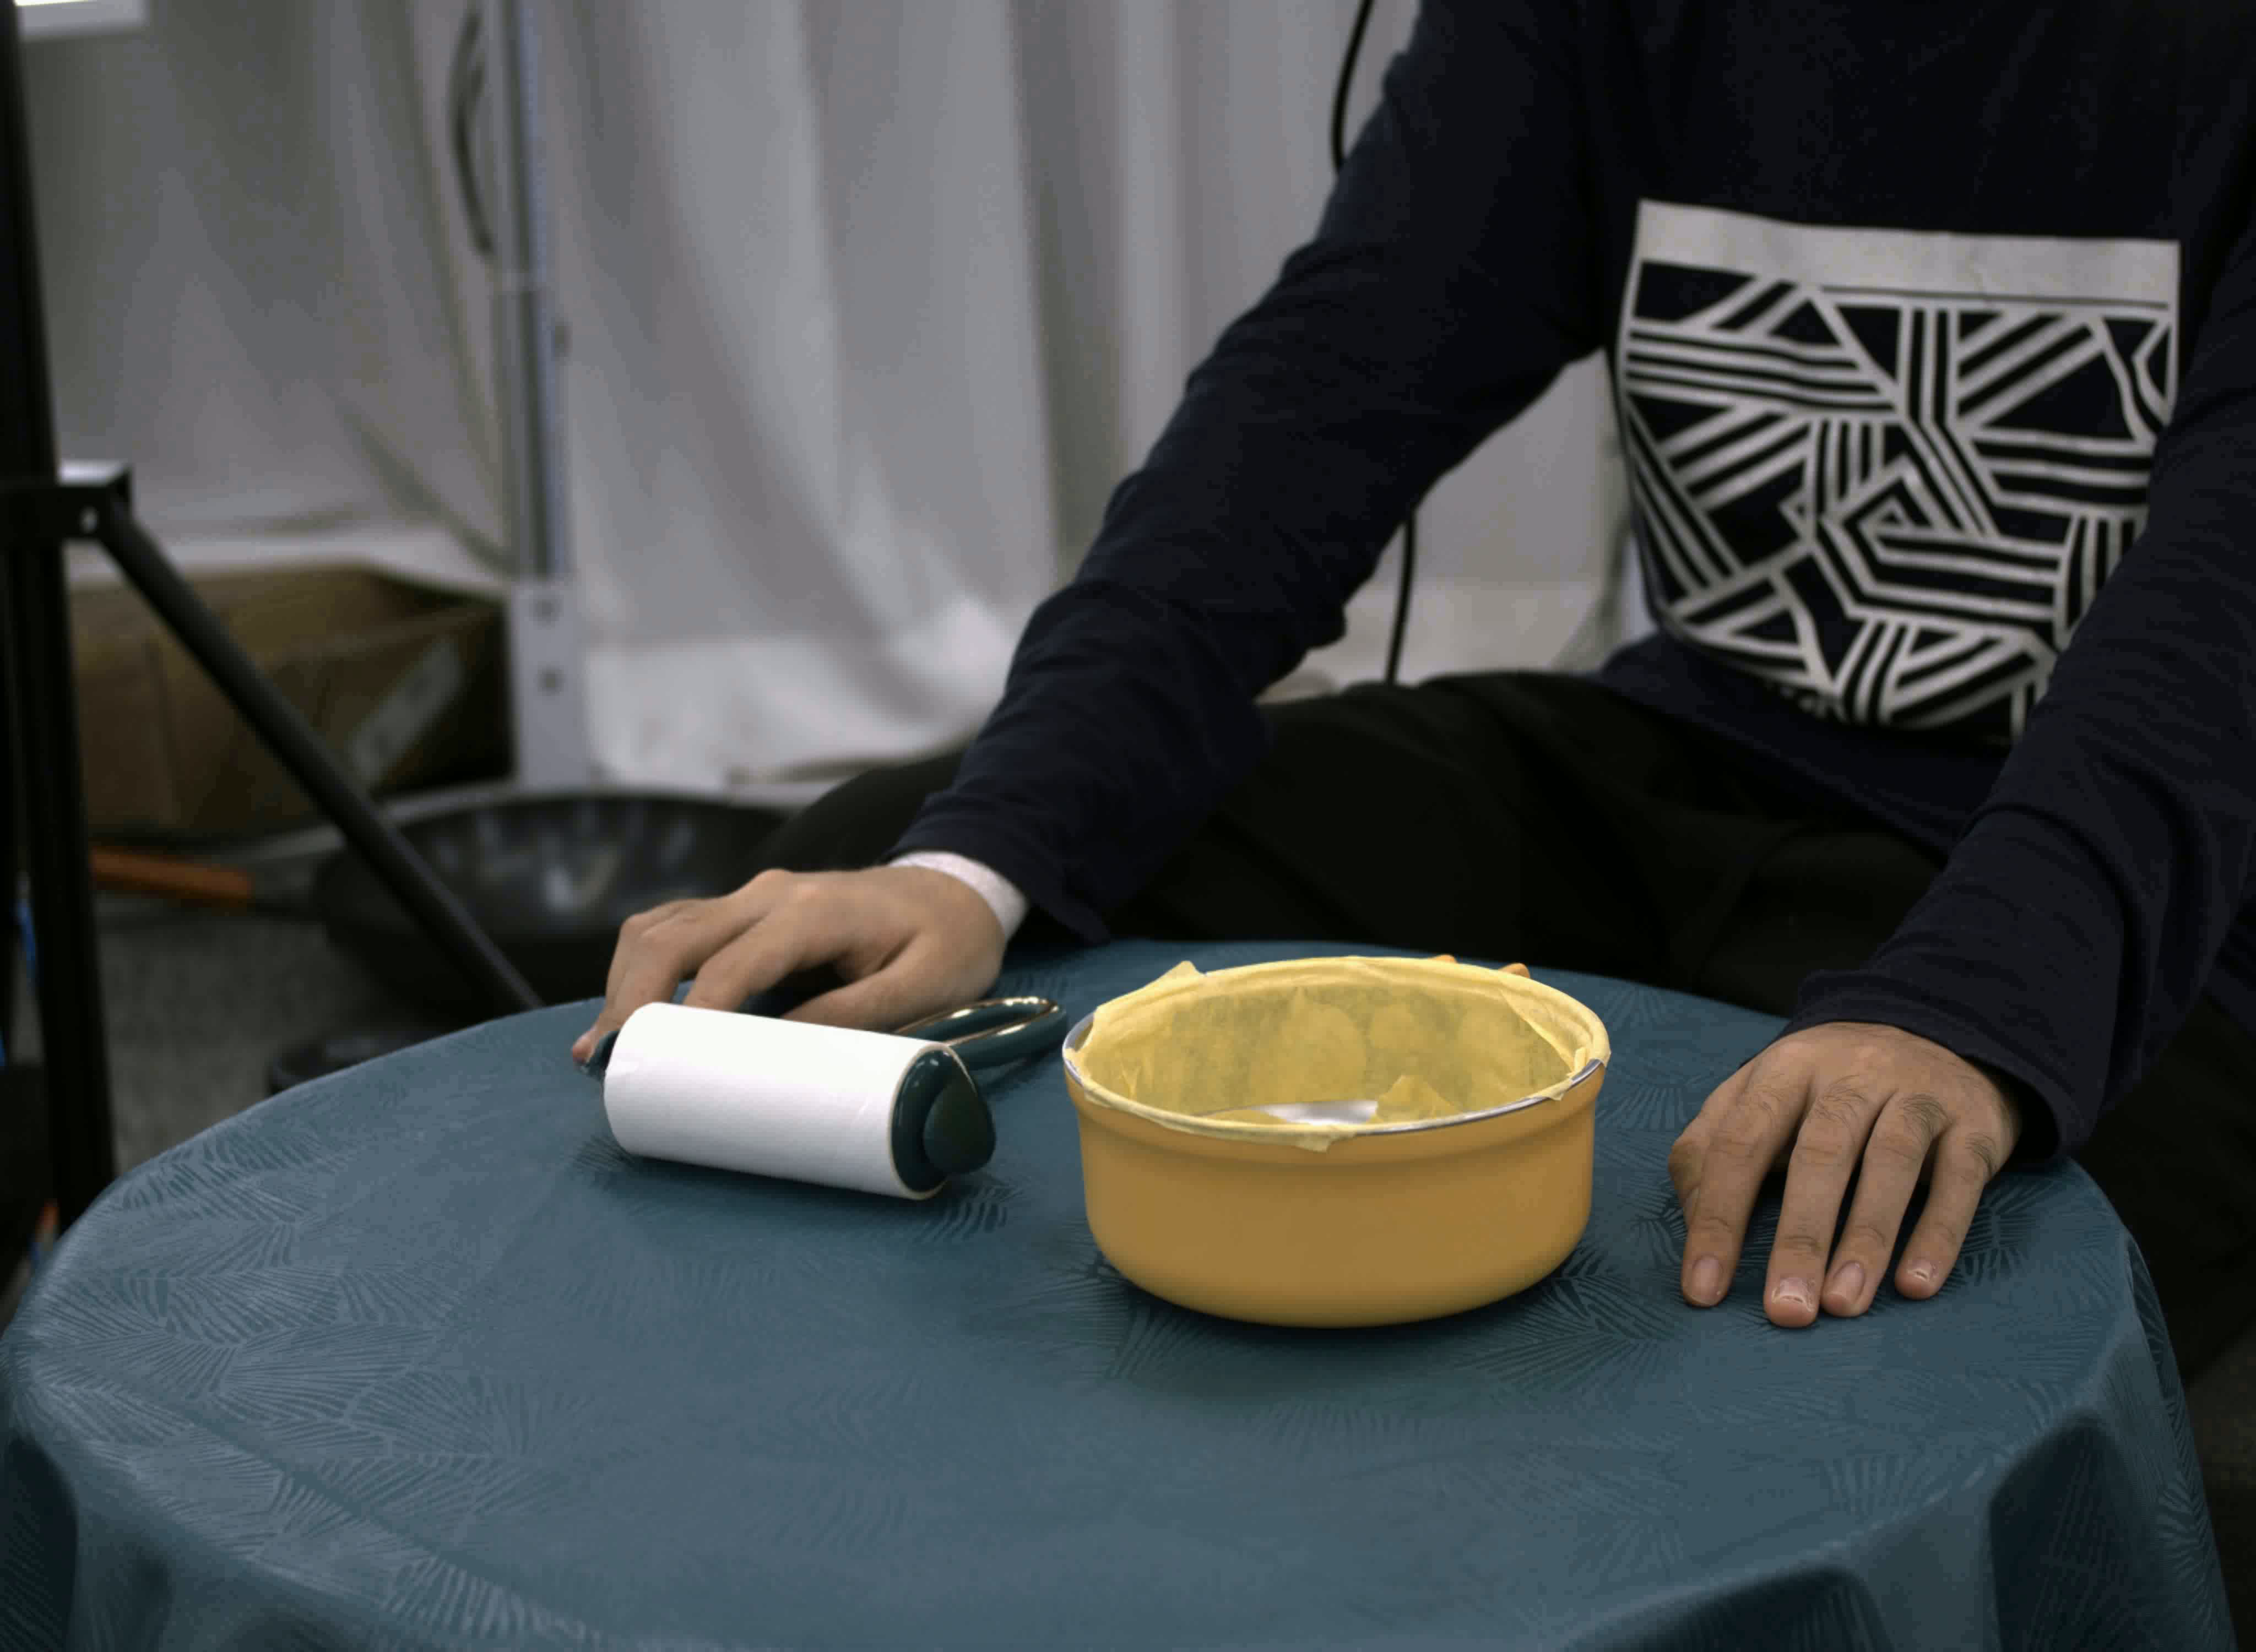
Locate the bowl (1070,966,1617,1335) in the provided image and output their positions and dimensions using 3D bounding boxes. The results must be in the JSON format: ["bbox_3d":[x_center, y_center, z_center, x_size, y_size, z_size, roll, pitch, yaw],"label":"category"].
[{"bbox_3d":[0.067,0.089,1.498,0.155,0.074,0.177,3,16,24],"label":"bowl"}]

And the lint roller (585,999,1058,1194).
[{"bbox_3d":[-0.070,0.069,1.642,0.136,0.048,0.176,6,13,29],"label":"lint roller"}]
